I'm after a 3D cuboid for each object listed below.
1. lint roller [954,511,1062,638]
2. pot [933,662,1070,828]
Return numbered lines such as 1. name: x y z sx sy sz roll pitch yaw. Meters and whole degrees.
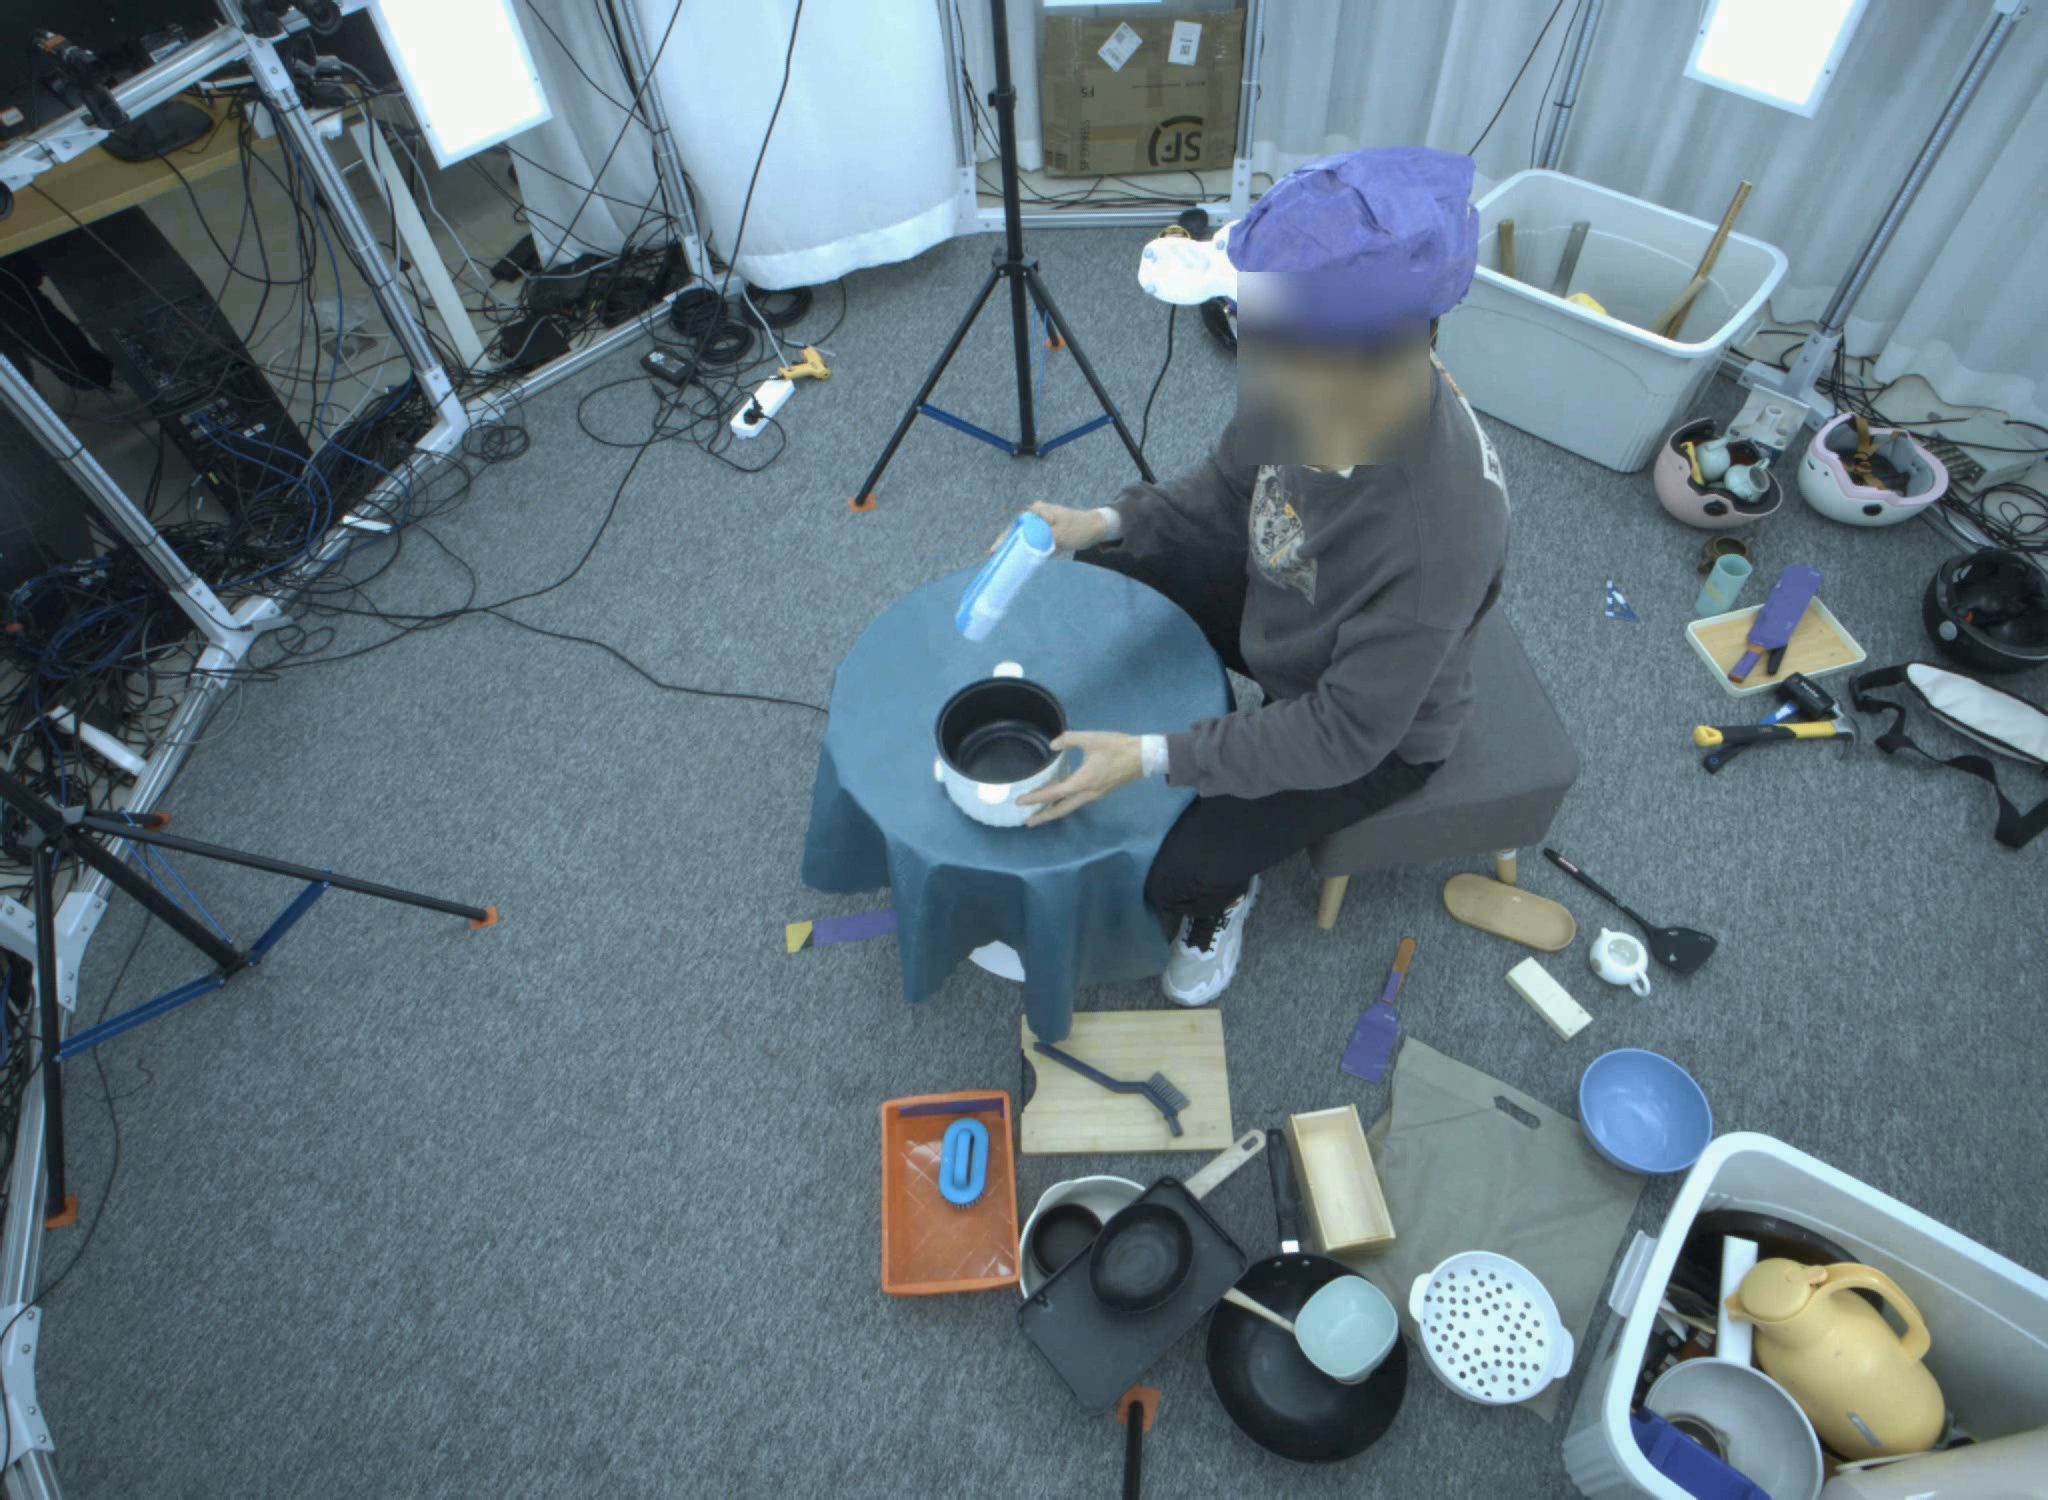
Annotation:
1. lint roller: -0.009 -0.262 1.667 0.068 0.227 0.180 35 46 -6
2. pot: -0.032 0.011 1.691 0.190 0.144 0.238 4 53 1
